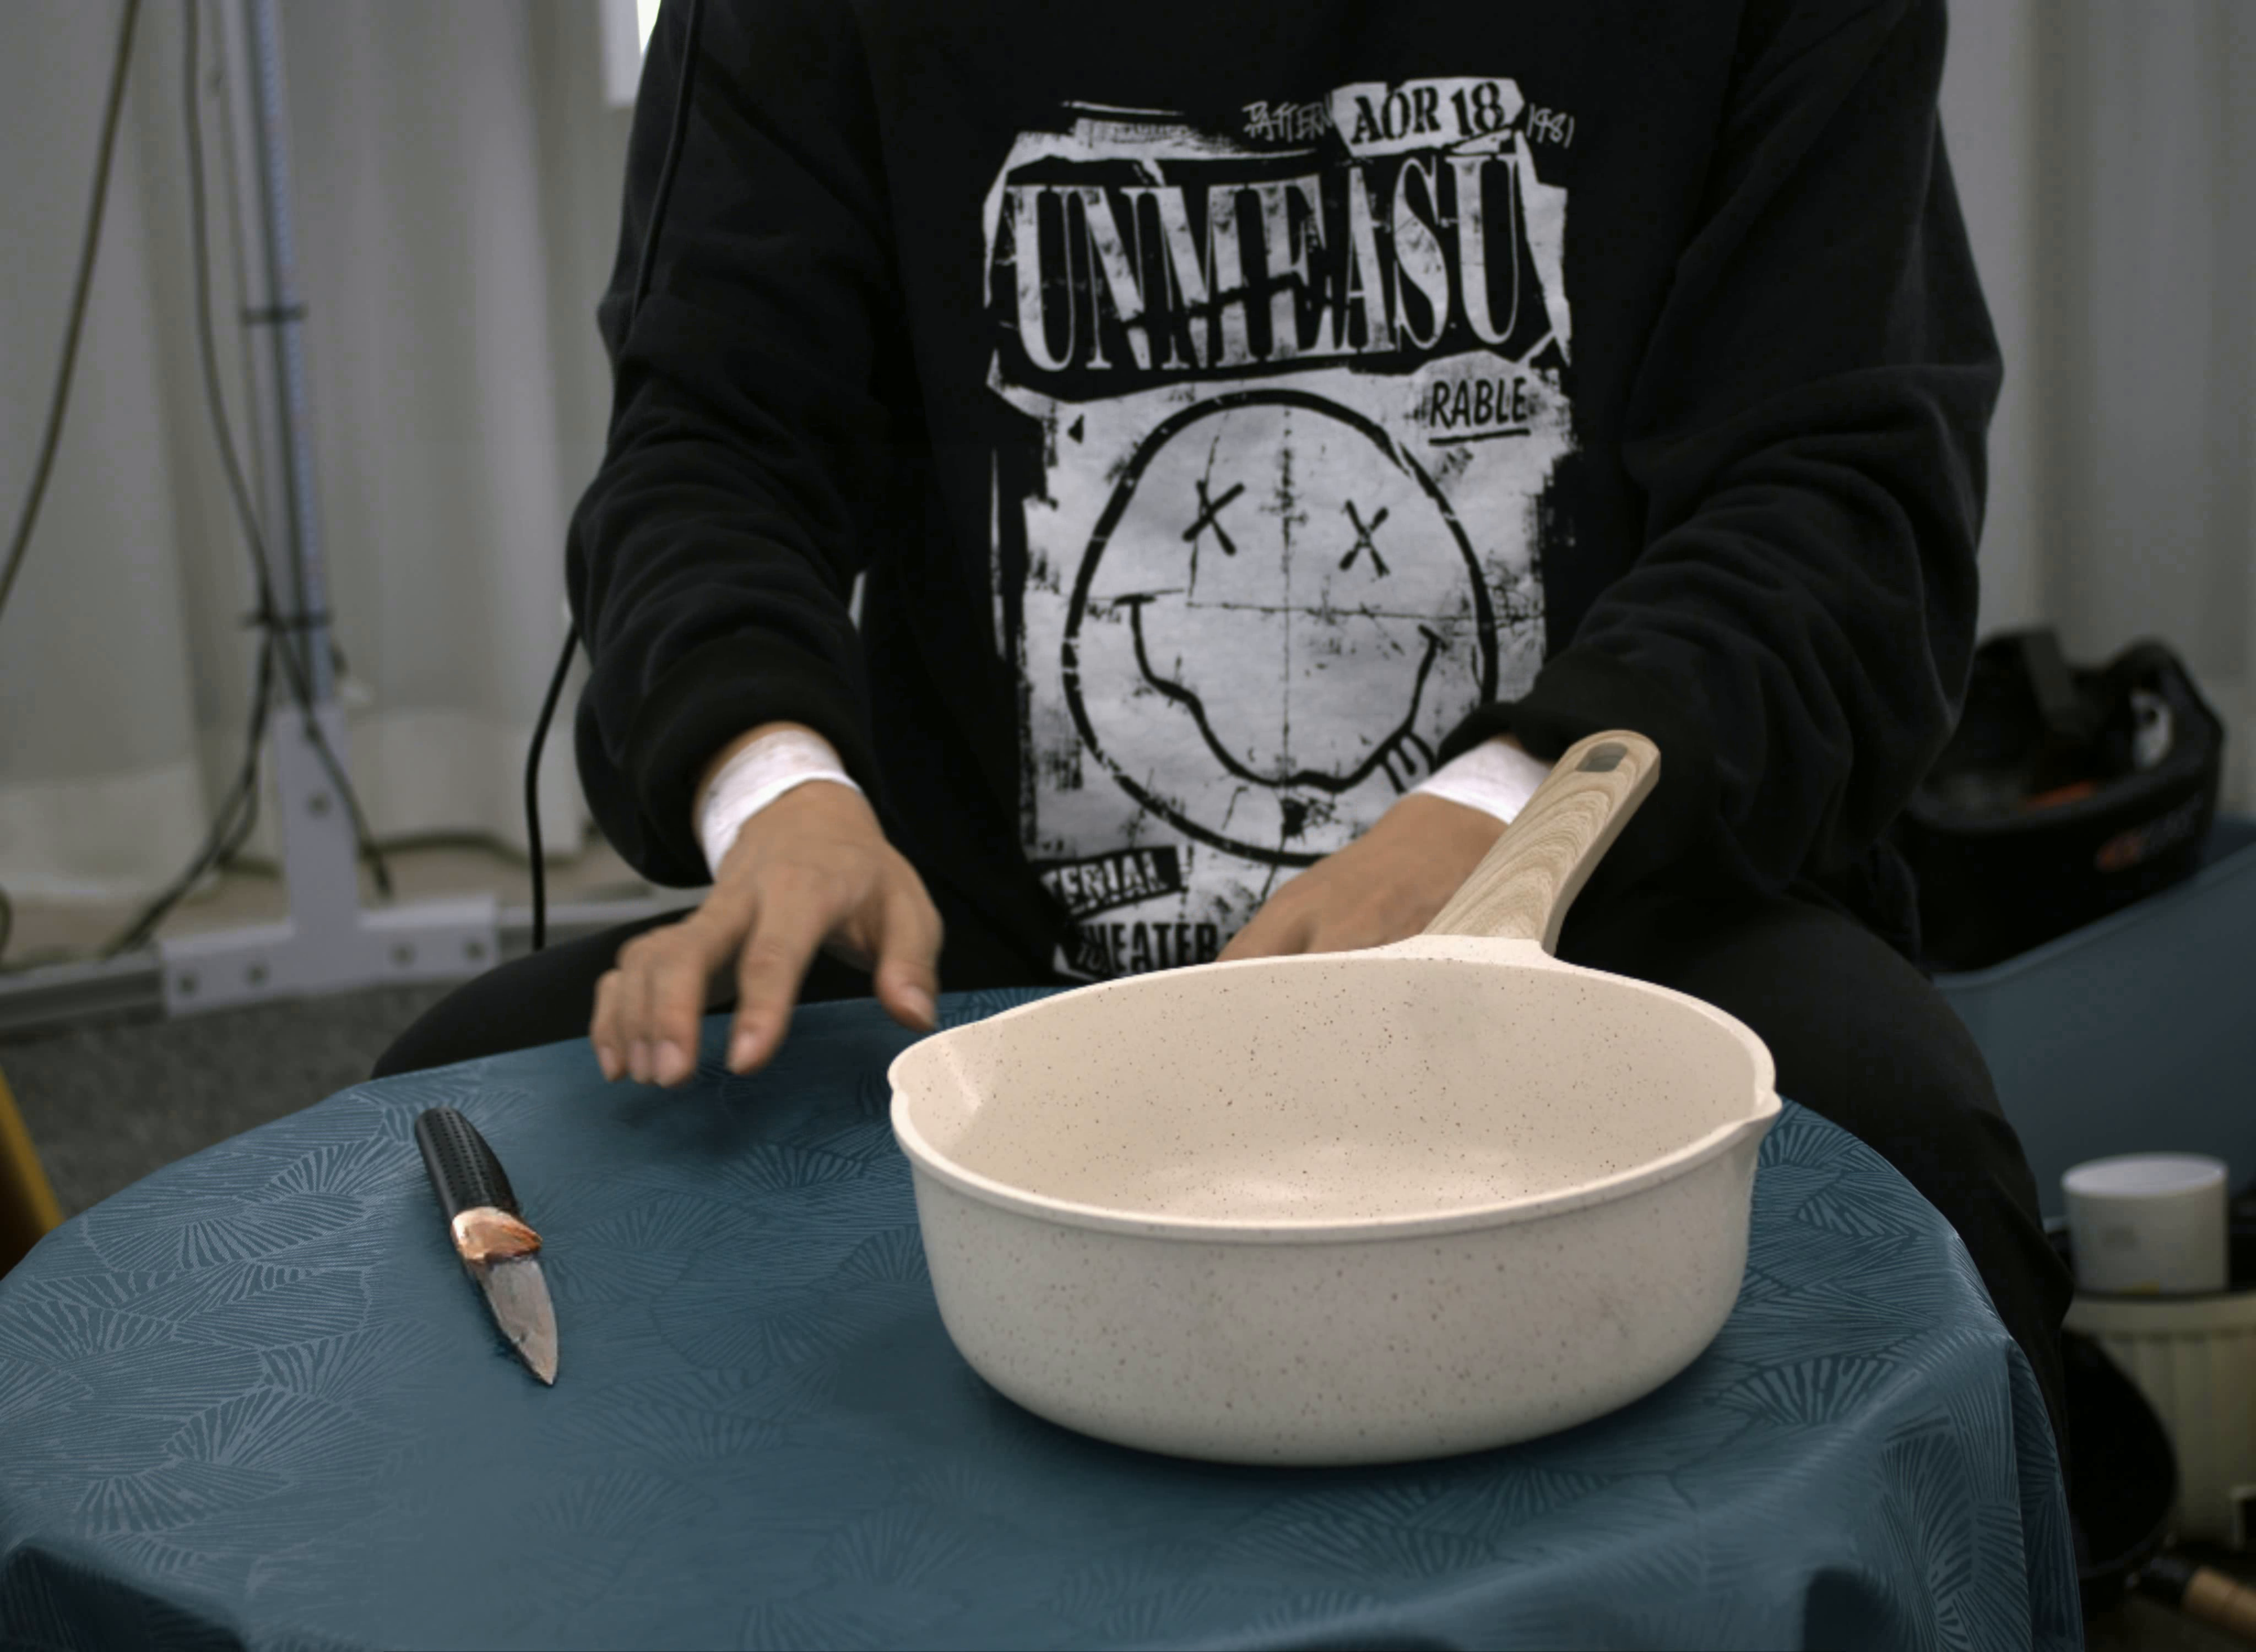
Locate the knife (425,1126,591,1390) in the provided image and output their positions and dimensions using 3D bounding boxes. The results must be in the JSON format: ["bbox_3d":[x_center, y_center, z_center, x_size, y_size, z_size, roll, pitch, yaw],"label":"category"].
[{"bbox_3d":[-0.191,0.131,1.672,0.026,0.017,0.227,10,12,-17],"label":"knife"}]

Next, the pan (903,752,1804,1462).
[{"bbox_3d":[0.095,0.080,1.639,0.263,0.101,0.436,1,15,20],"label":"pan"}]
